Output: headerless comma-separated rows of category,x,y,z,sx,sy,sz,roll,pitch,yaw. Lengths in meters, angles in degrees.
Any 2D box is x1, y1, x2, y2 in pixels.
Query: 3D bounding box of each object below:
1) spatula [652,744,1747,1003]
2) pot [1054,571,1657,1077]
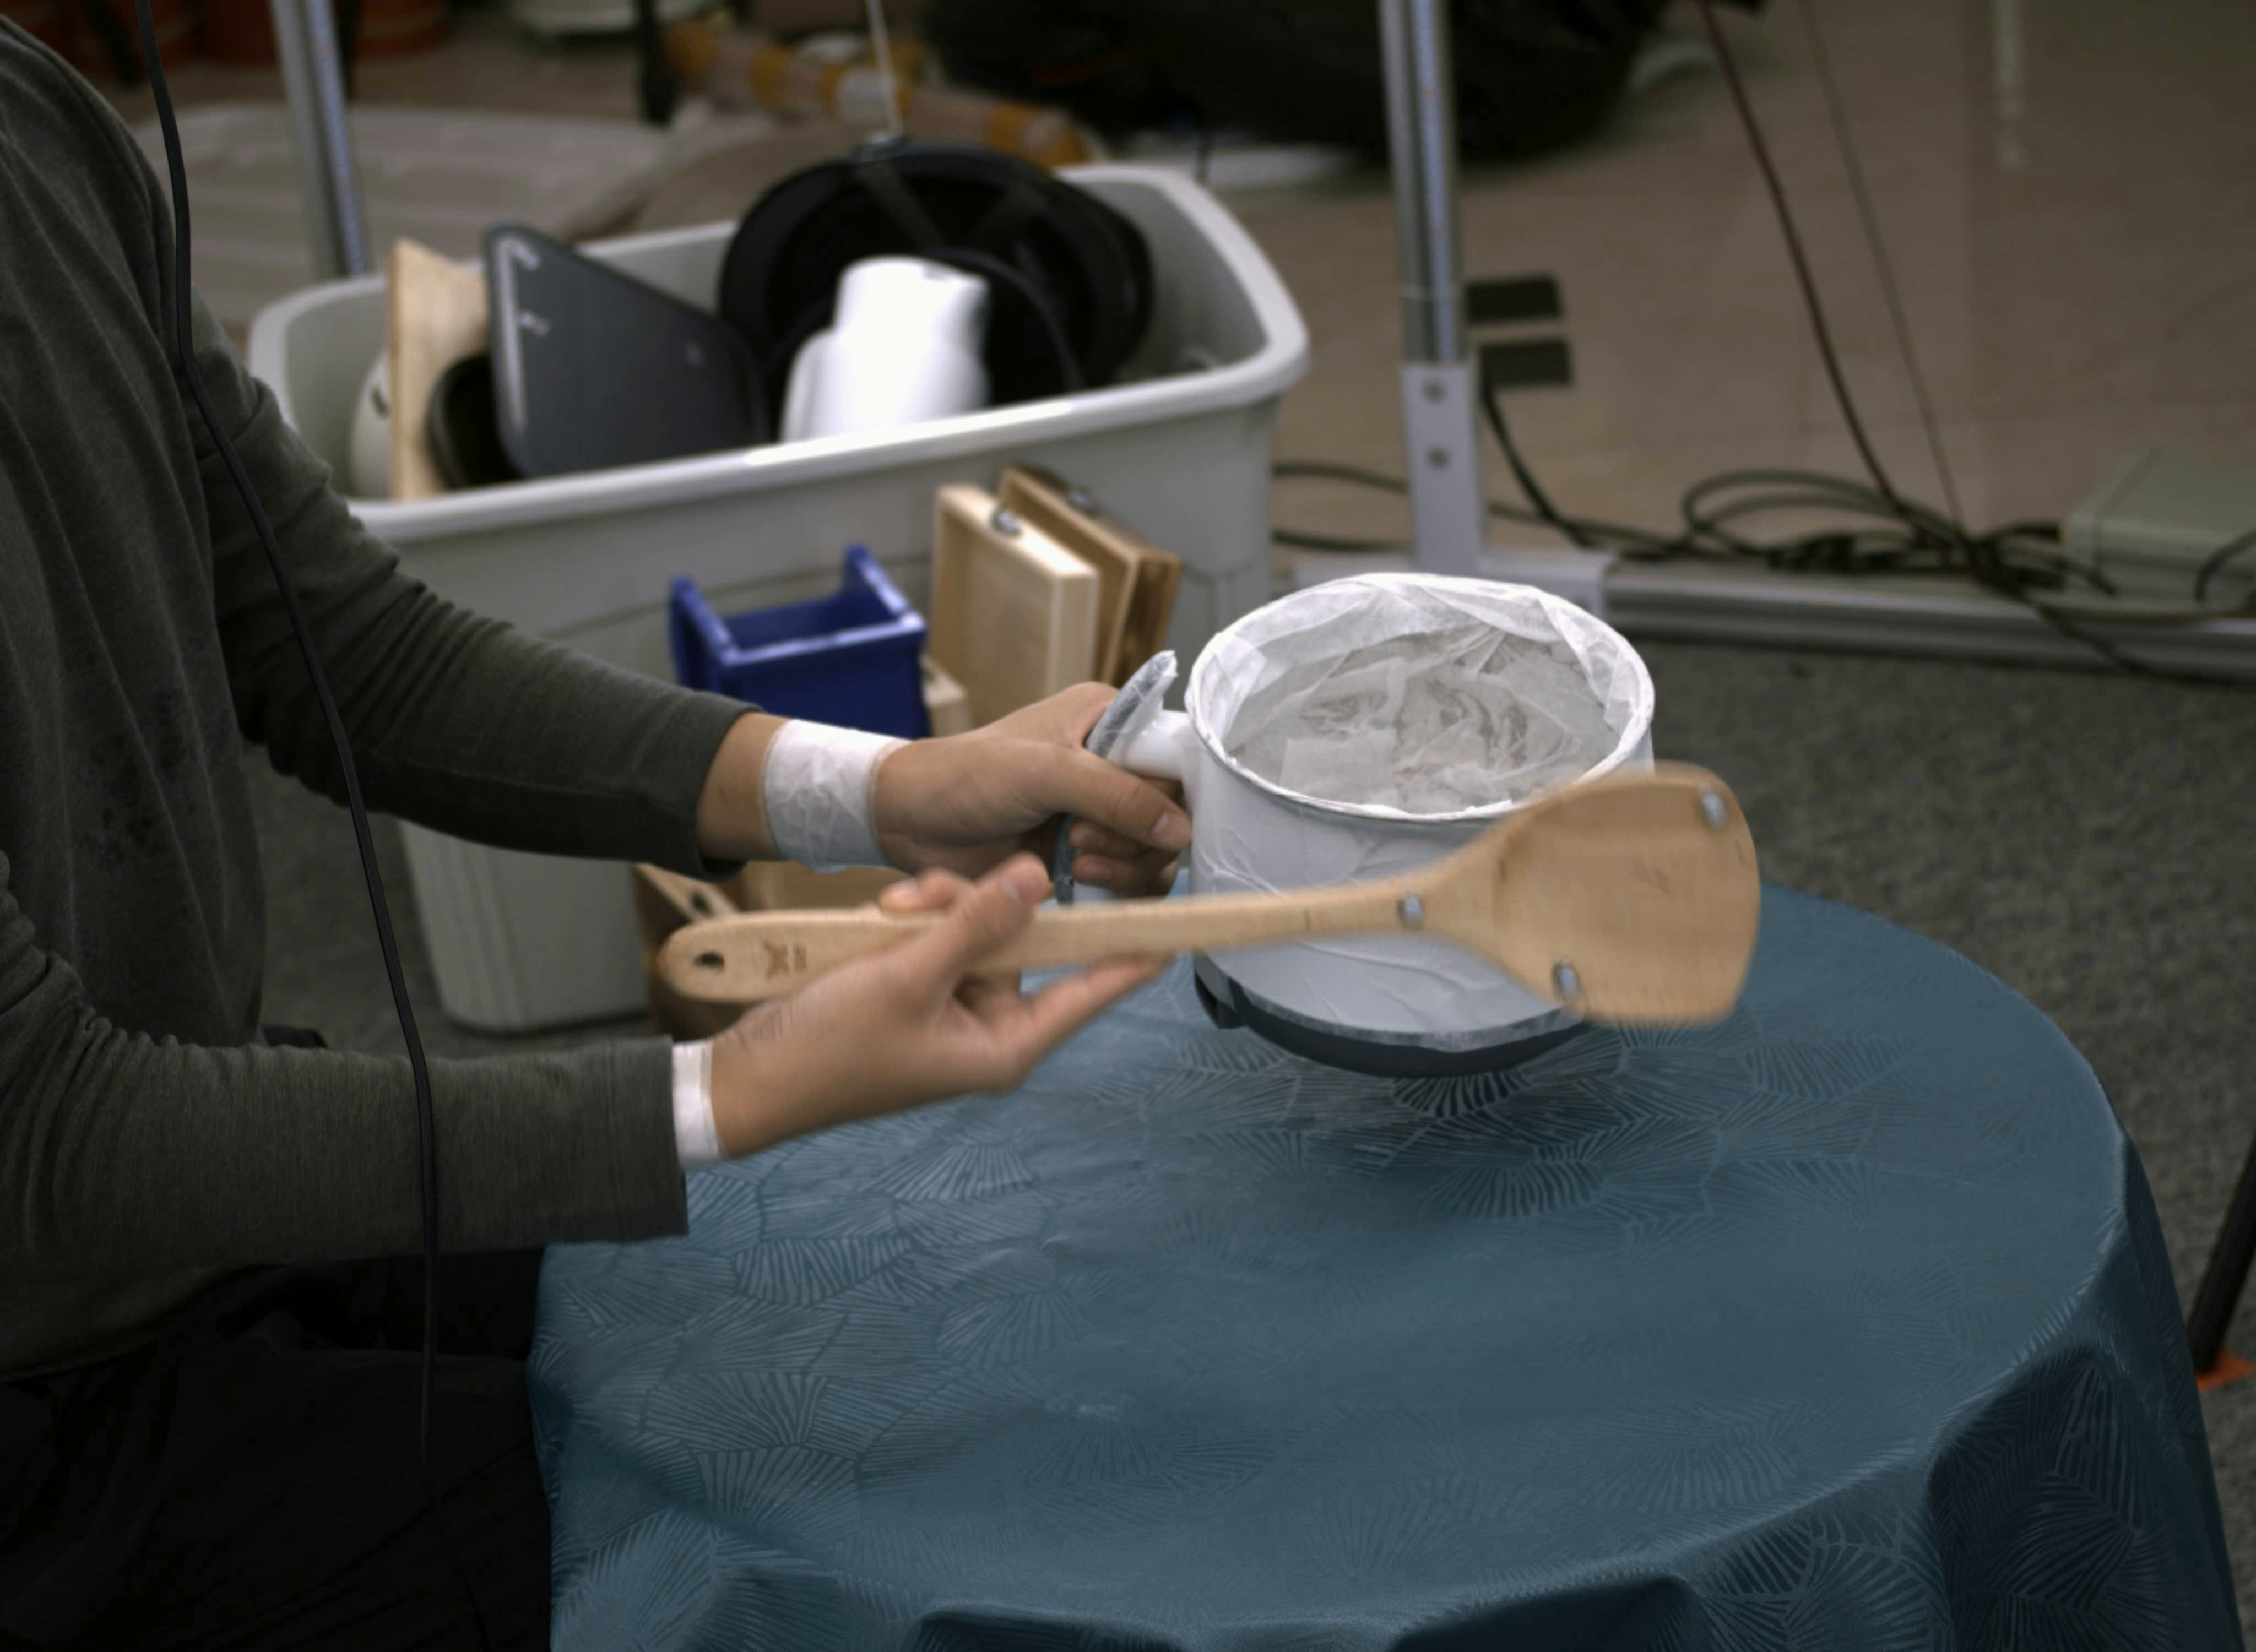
spatula,0.027,0.031,1.997,0.390,0.097,0.018,-6,17,-9
pot,0.085,-0.001,2.175,0.233,0.139,0.176,6,34,11
